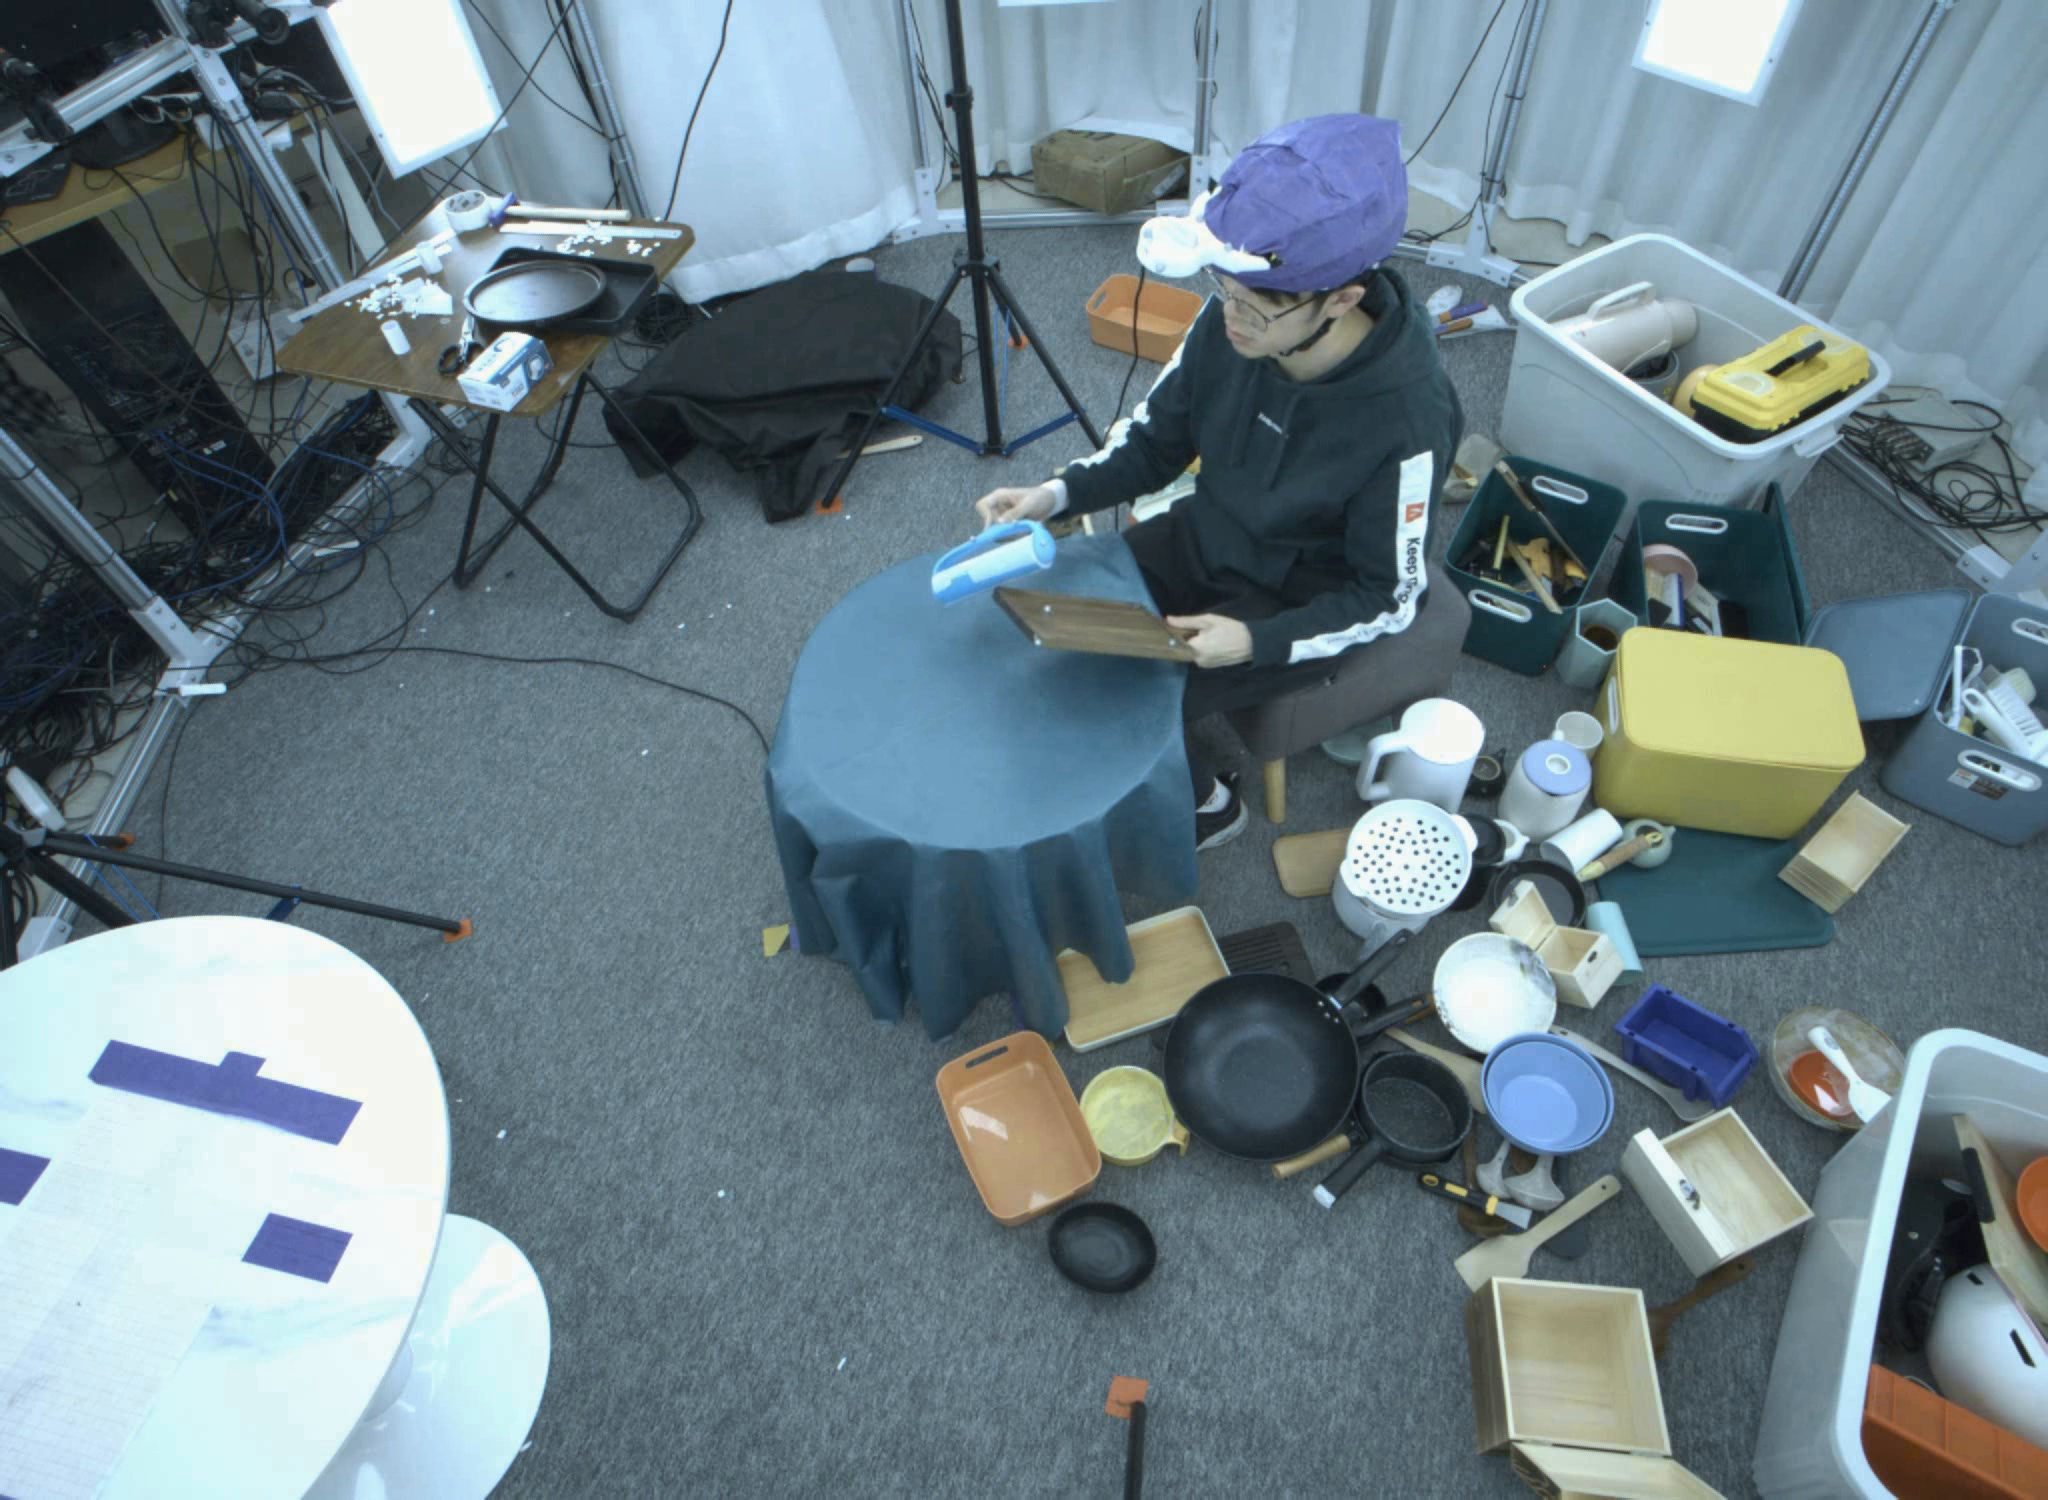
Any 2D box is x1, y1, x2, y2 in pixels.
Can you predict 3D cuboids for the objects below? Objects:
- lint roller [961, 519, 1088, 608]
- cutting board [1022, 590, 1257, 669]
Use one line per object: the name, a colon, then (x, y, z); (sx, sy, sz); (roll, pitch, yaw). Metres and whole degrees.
lint roller: (0.014, -0.301, 1.825); (0.225, 0.069, 0.180); (-17, 37, 35)
cutting board: (0.188, -0.171, 1.788); (0.358, 0.023, 0.197); (5, 26, -25)
